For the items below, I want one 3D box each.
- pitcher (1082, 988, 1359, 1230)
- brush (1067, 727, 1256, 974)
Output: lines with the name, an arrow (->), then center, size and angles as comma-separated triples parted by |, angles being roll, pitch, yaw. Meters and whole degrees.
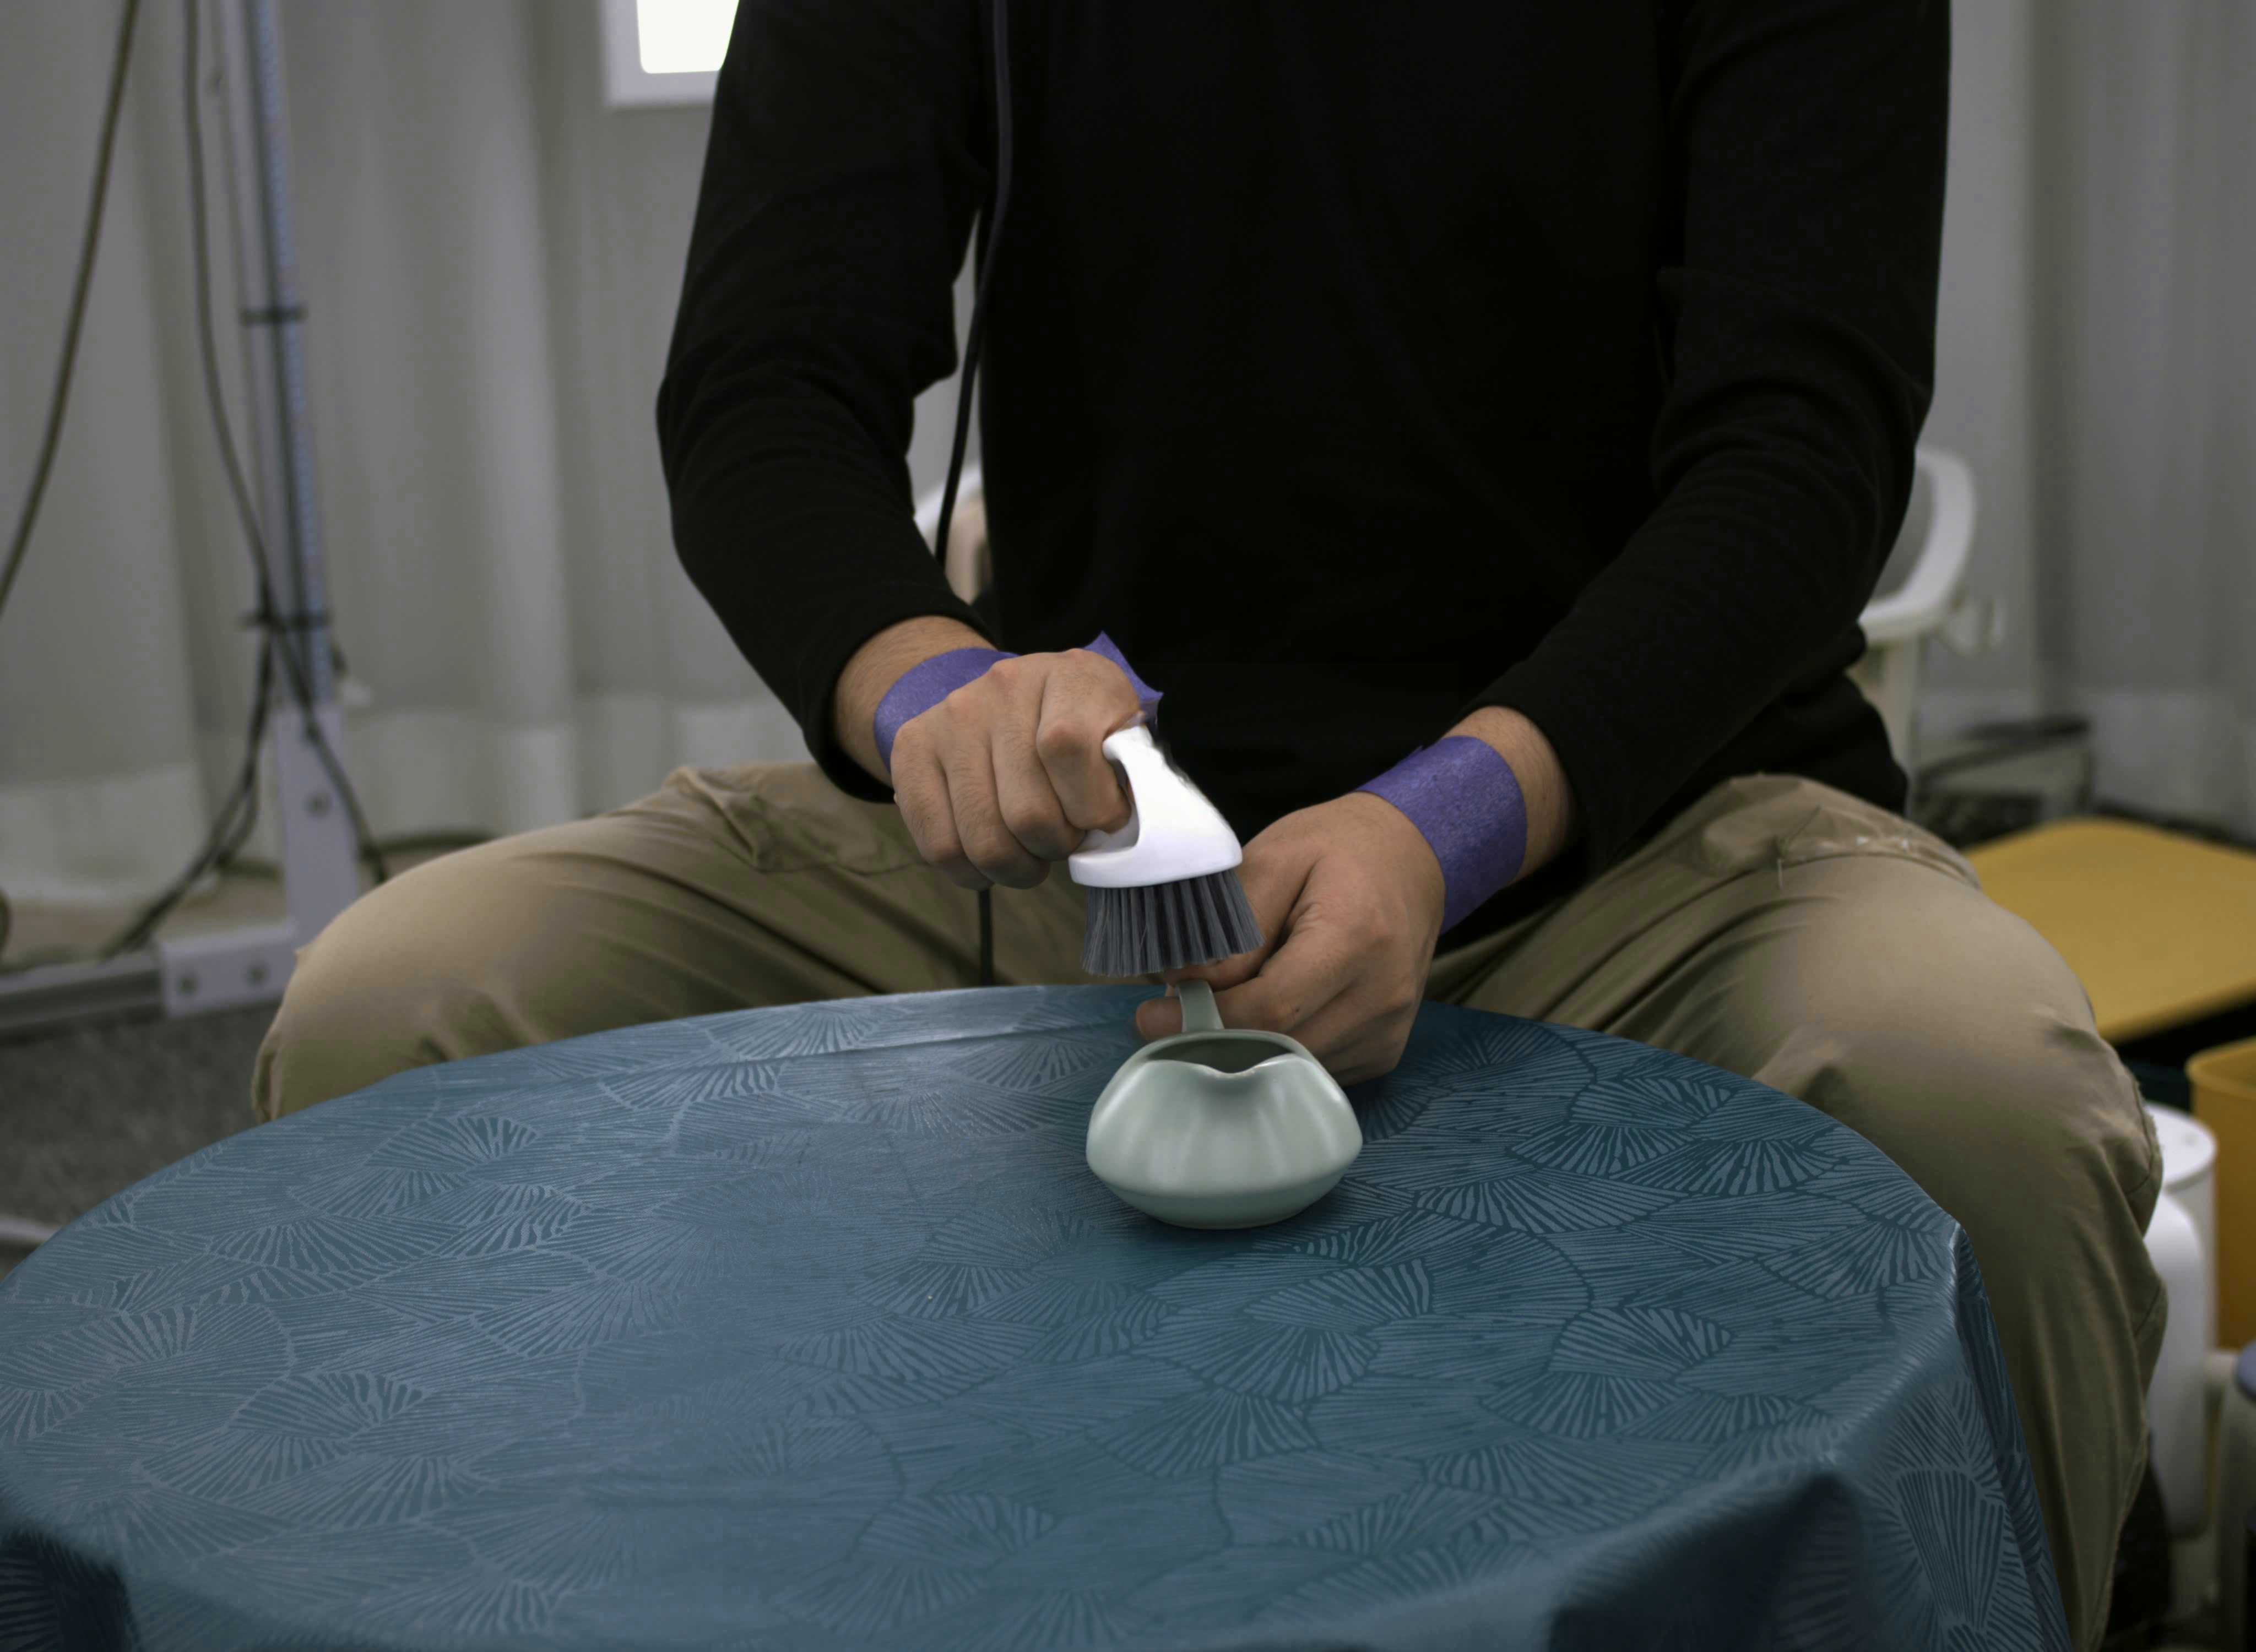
pitcher -> 0.026, 0.089, 1.702 | 0.085, 0.060, 0.108 | -5, 12, -9
brush -> 0.006, 0.005, 1.718 | 0.050, 0.072, 0.099 | -11, 4, -8
